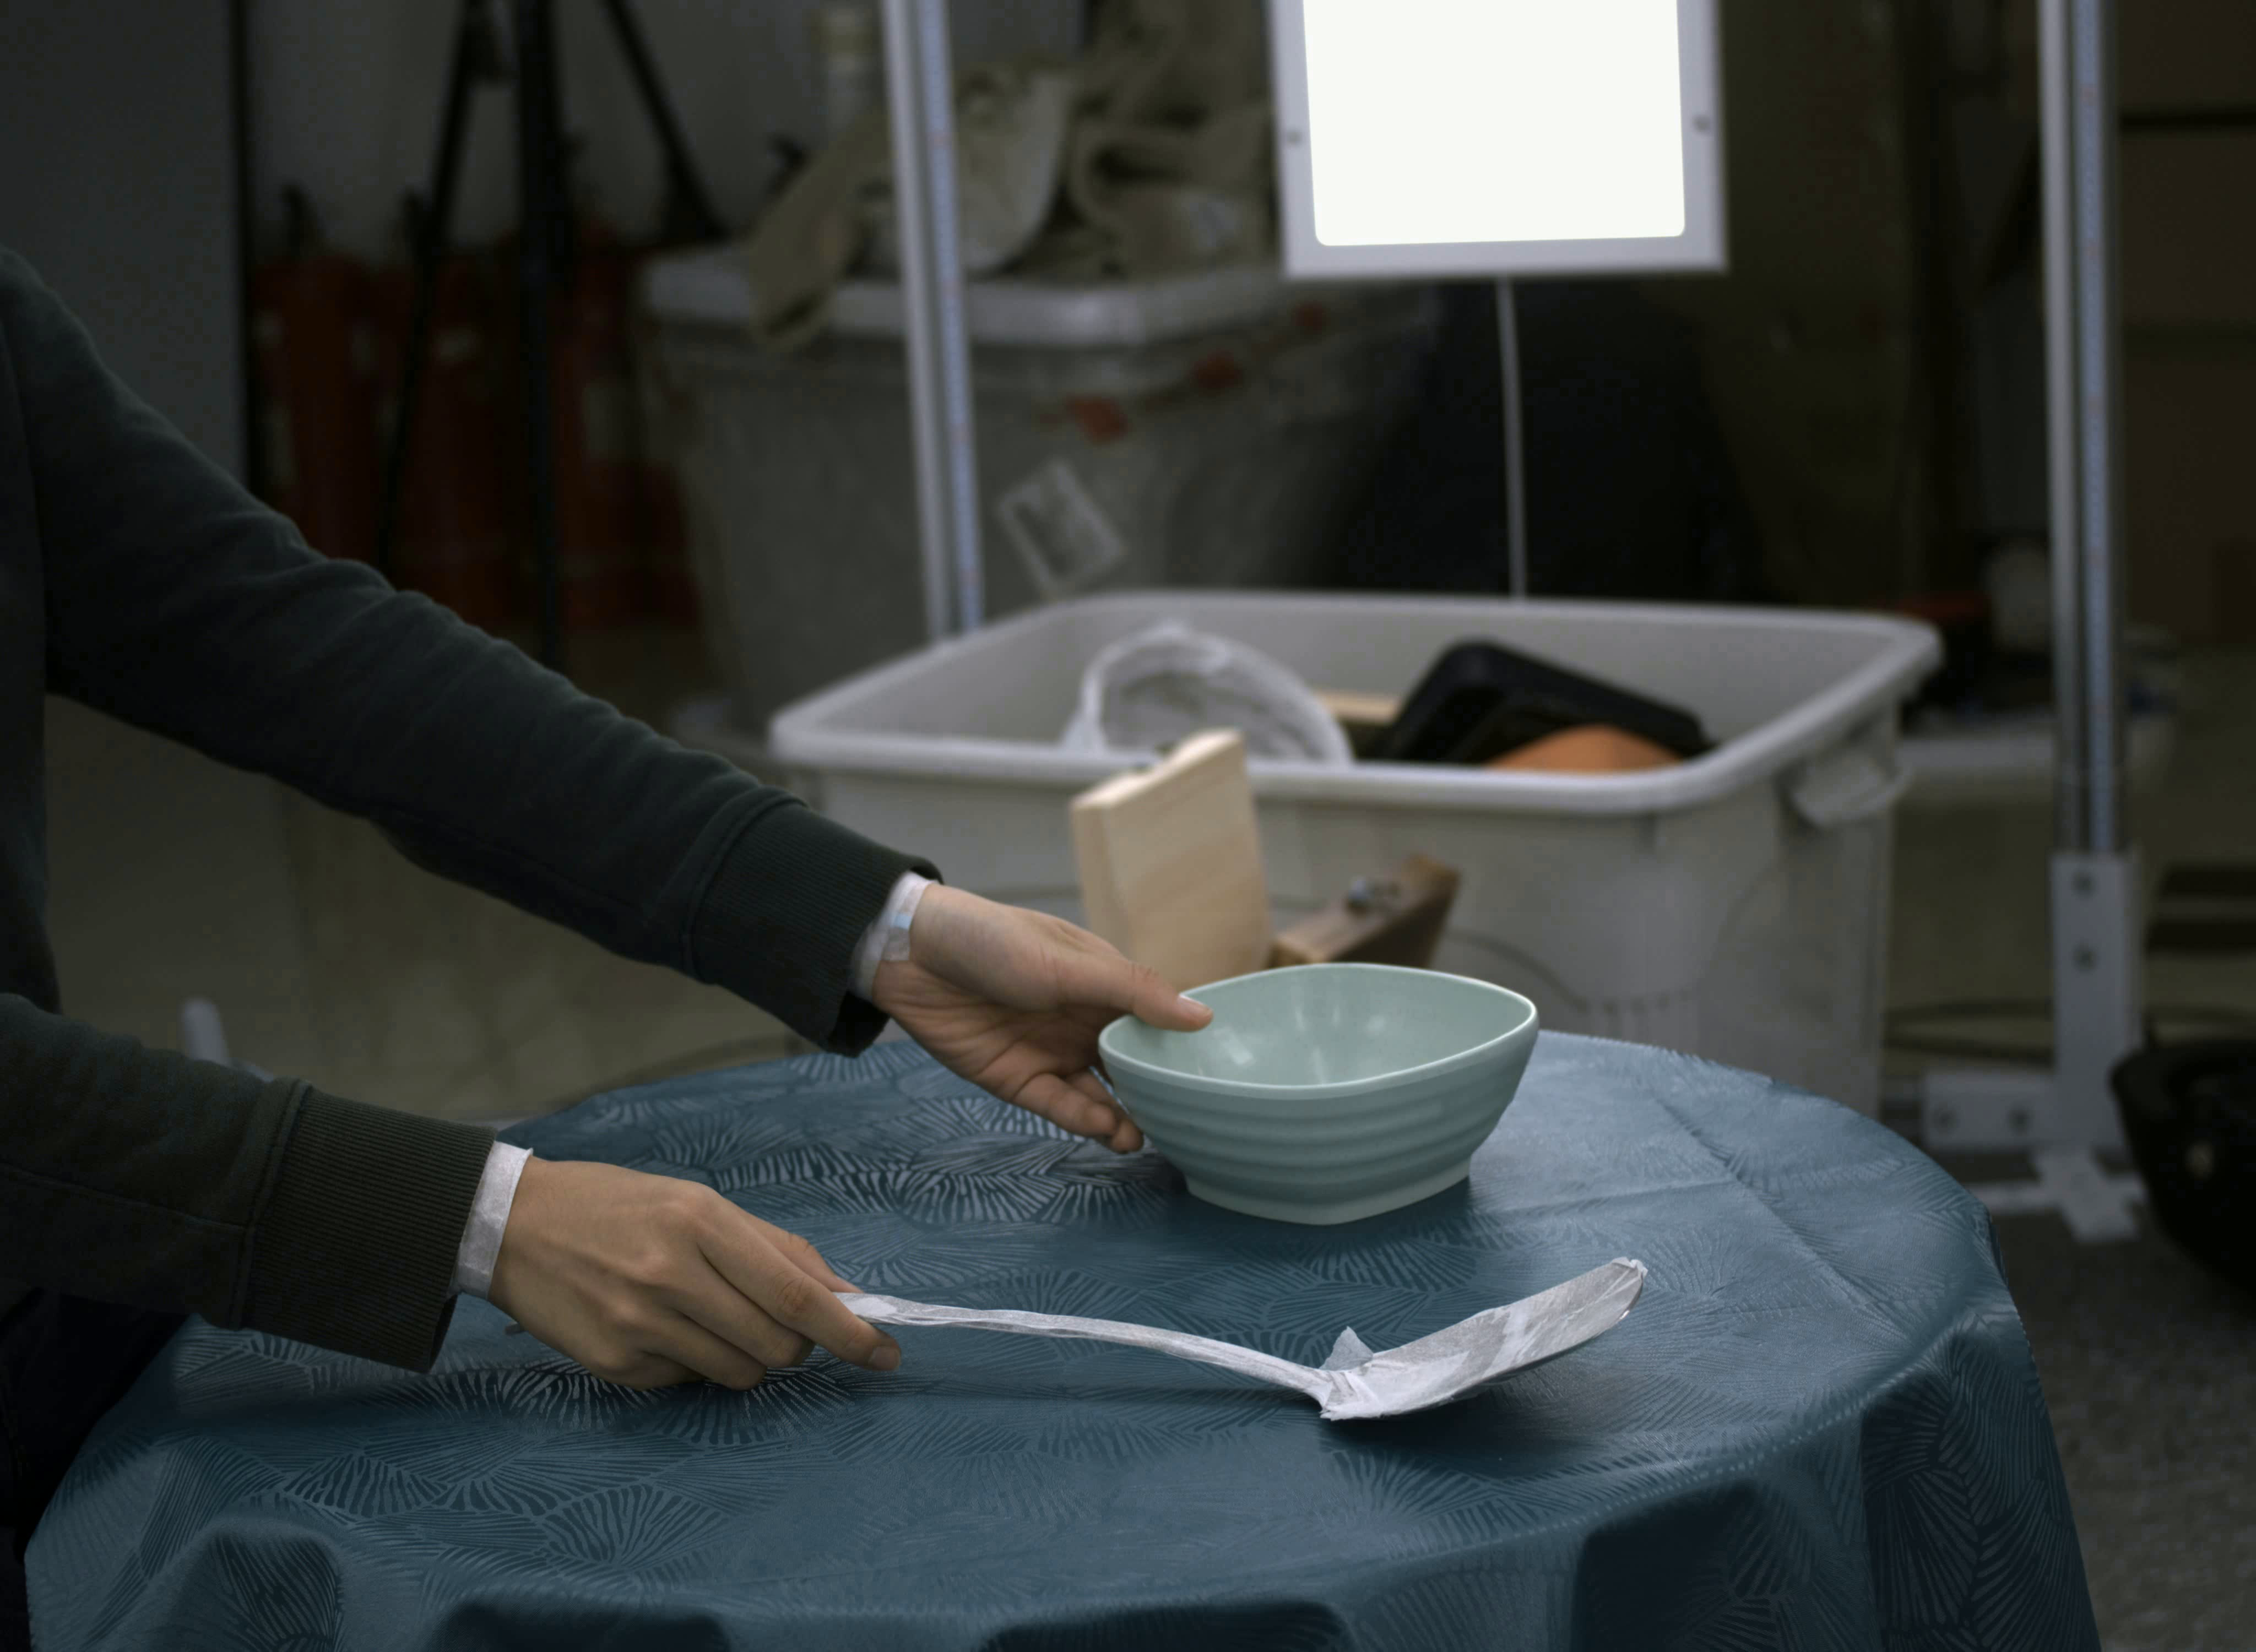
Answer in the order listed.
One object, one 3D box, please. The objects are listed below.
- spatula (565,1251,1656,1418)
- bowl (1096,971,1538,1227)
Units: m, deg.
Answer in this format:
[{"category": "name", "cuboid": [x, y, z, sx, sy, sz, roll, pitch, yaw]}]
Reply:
[{"category": "spatula", "cuboid": [-0.016, 0.150, 1.708, 0.370, 0.045, 0.097, 3, 16, 22]}, {"category": "bowl", "cuboid": [0.065, 0.096, 1.883, 0.151, 0.059, 0.151, -2, 13, -1]}]
